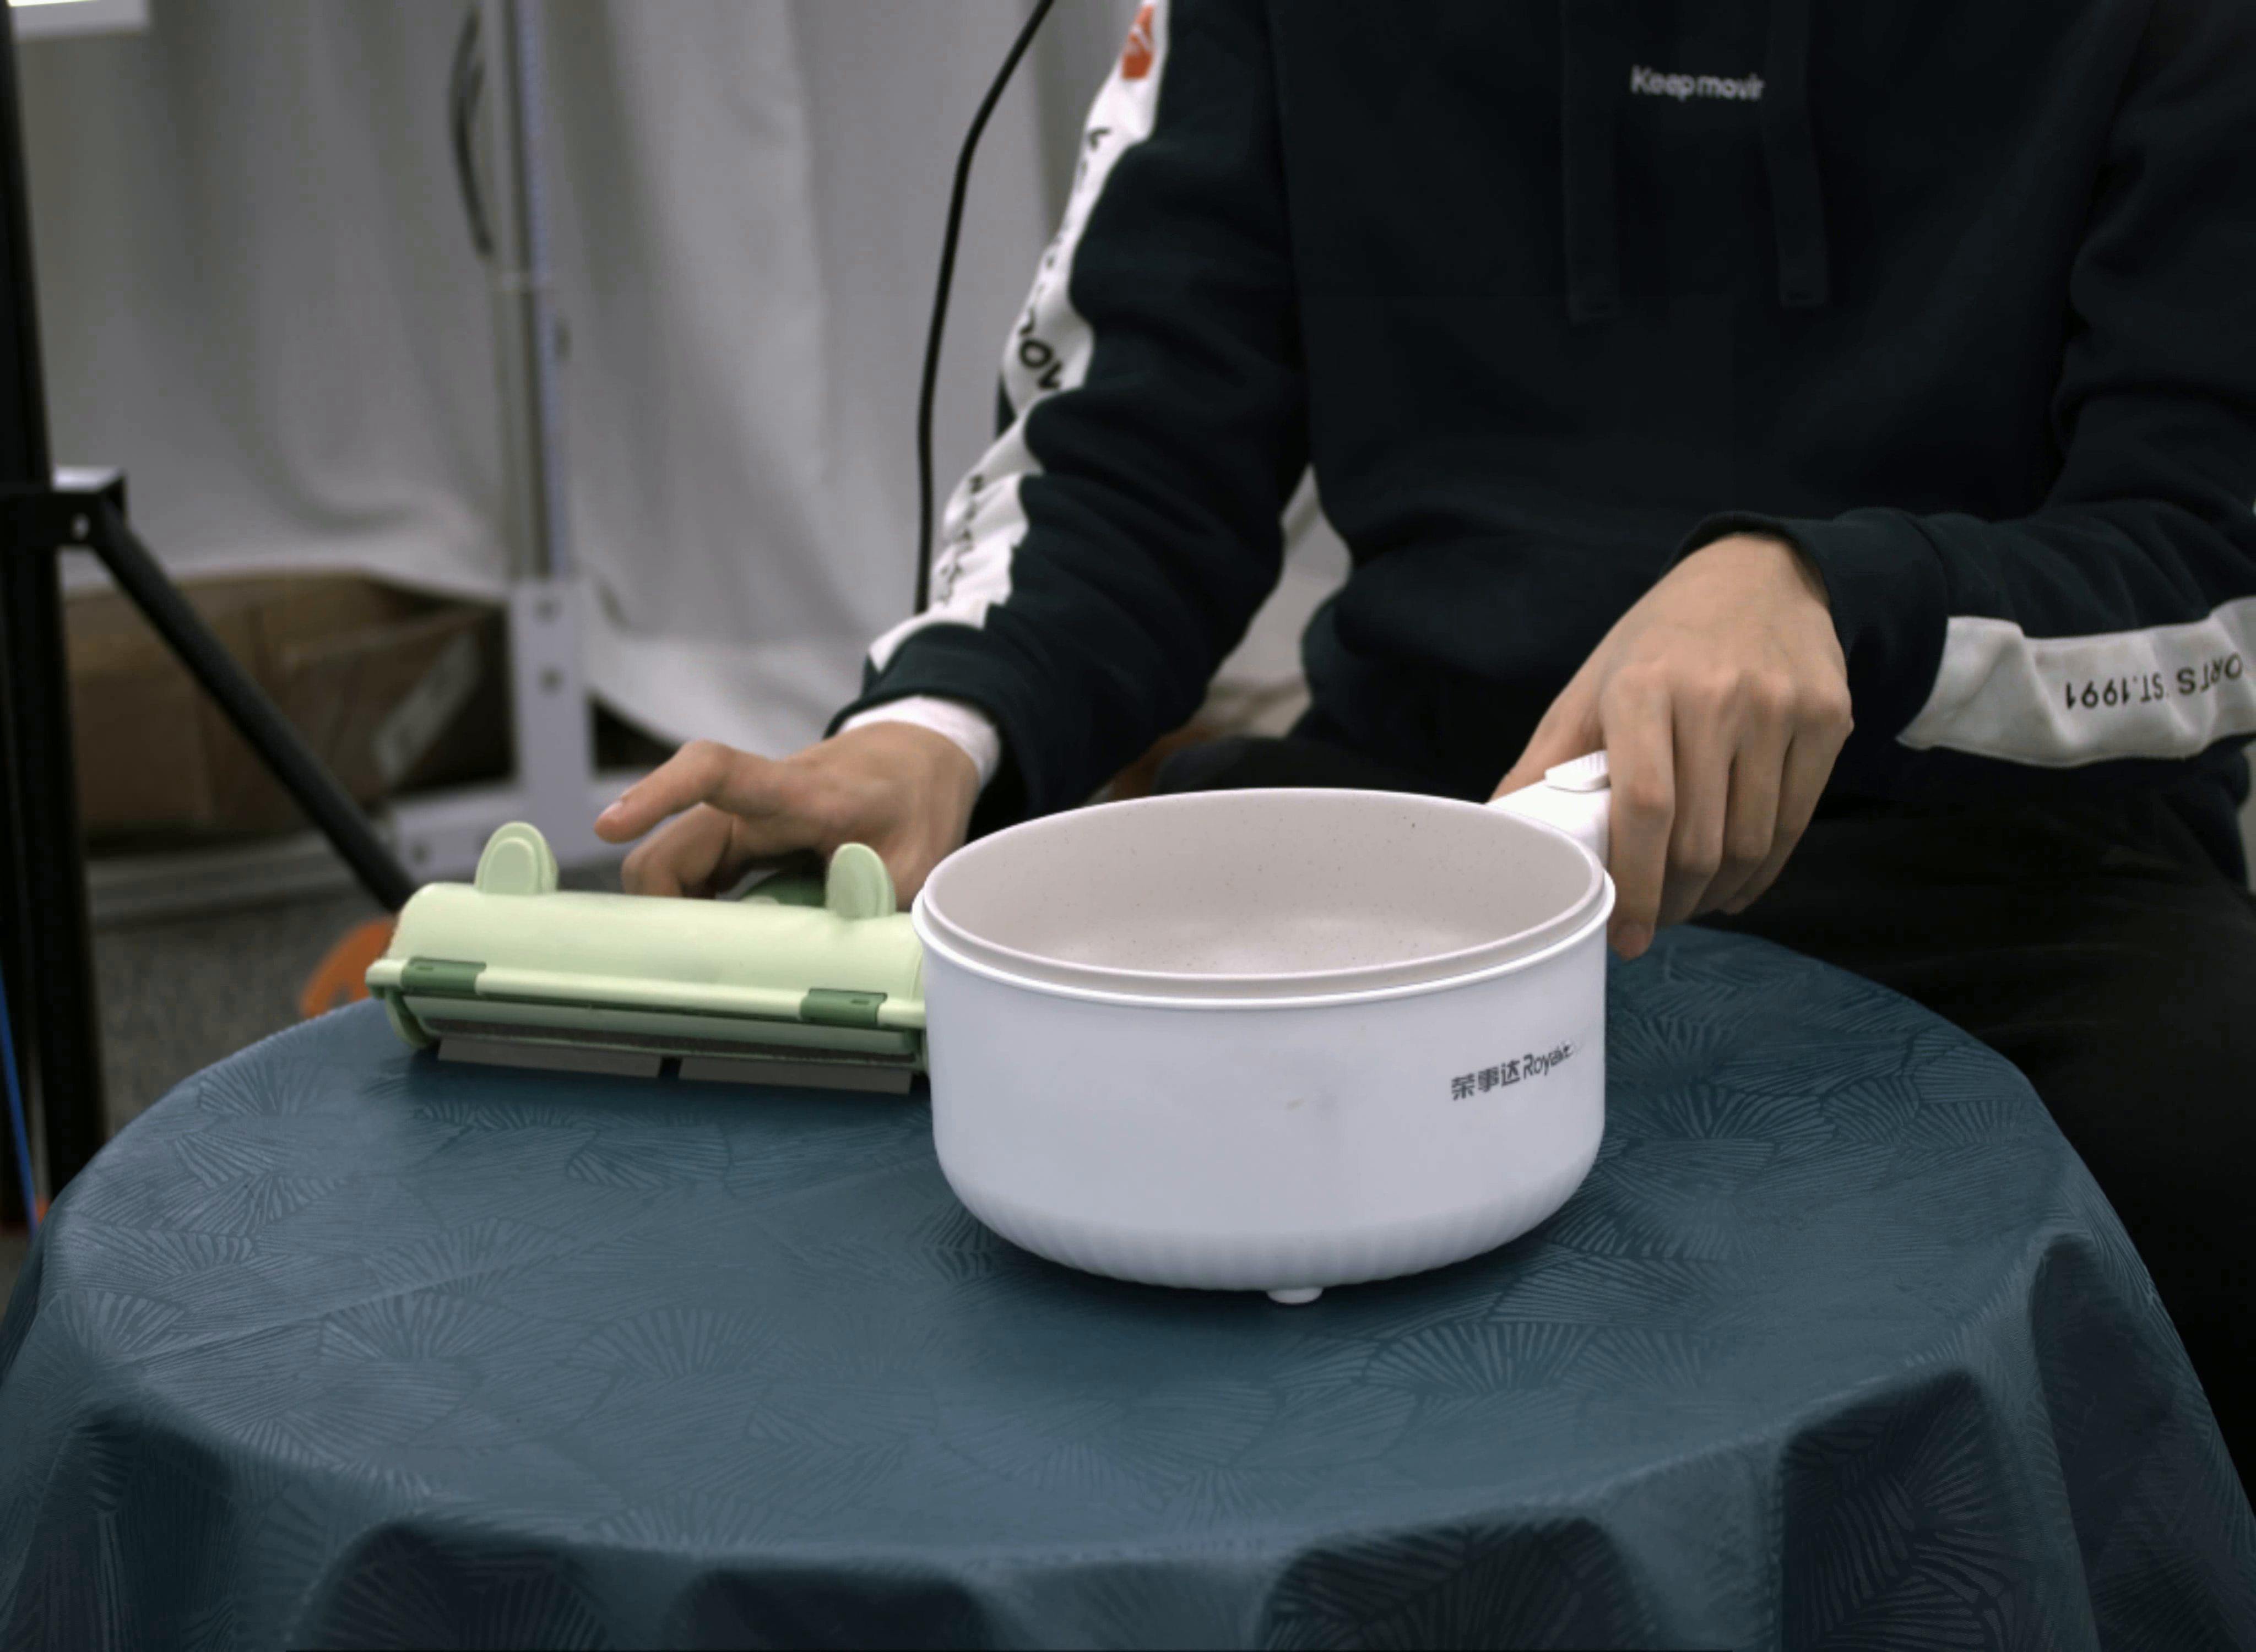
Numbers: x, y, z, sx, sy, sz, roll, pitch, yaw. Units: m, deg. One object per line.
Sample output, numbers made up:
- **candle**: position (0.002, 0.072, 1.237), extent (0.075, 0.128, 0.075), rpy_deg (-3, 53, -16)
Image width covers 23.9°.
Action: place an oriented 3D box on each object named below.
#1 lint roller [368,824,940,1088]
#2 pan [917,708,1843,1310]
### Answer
- **lint roller**: position (-0.123, 0.024, 1.736), extent (0.201, 0.082, 0.181), rpy_deg (3, 22, 20)
- **pan**: position (0.093, 0.048, 1.574), extent (0.206, 0.102, 0.347), rpy_deg (11, 20, 42)
